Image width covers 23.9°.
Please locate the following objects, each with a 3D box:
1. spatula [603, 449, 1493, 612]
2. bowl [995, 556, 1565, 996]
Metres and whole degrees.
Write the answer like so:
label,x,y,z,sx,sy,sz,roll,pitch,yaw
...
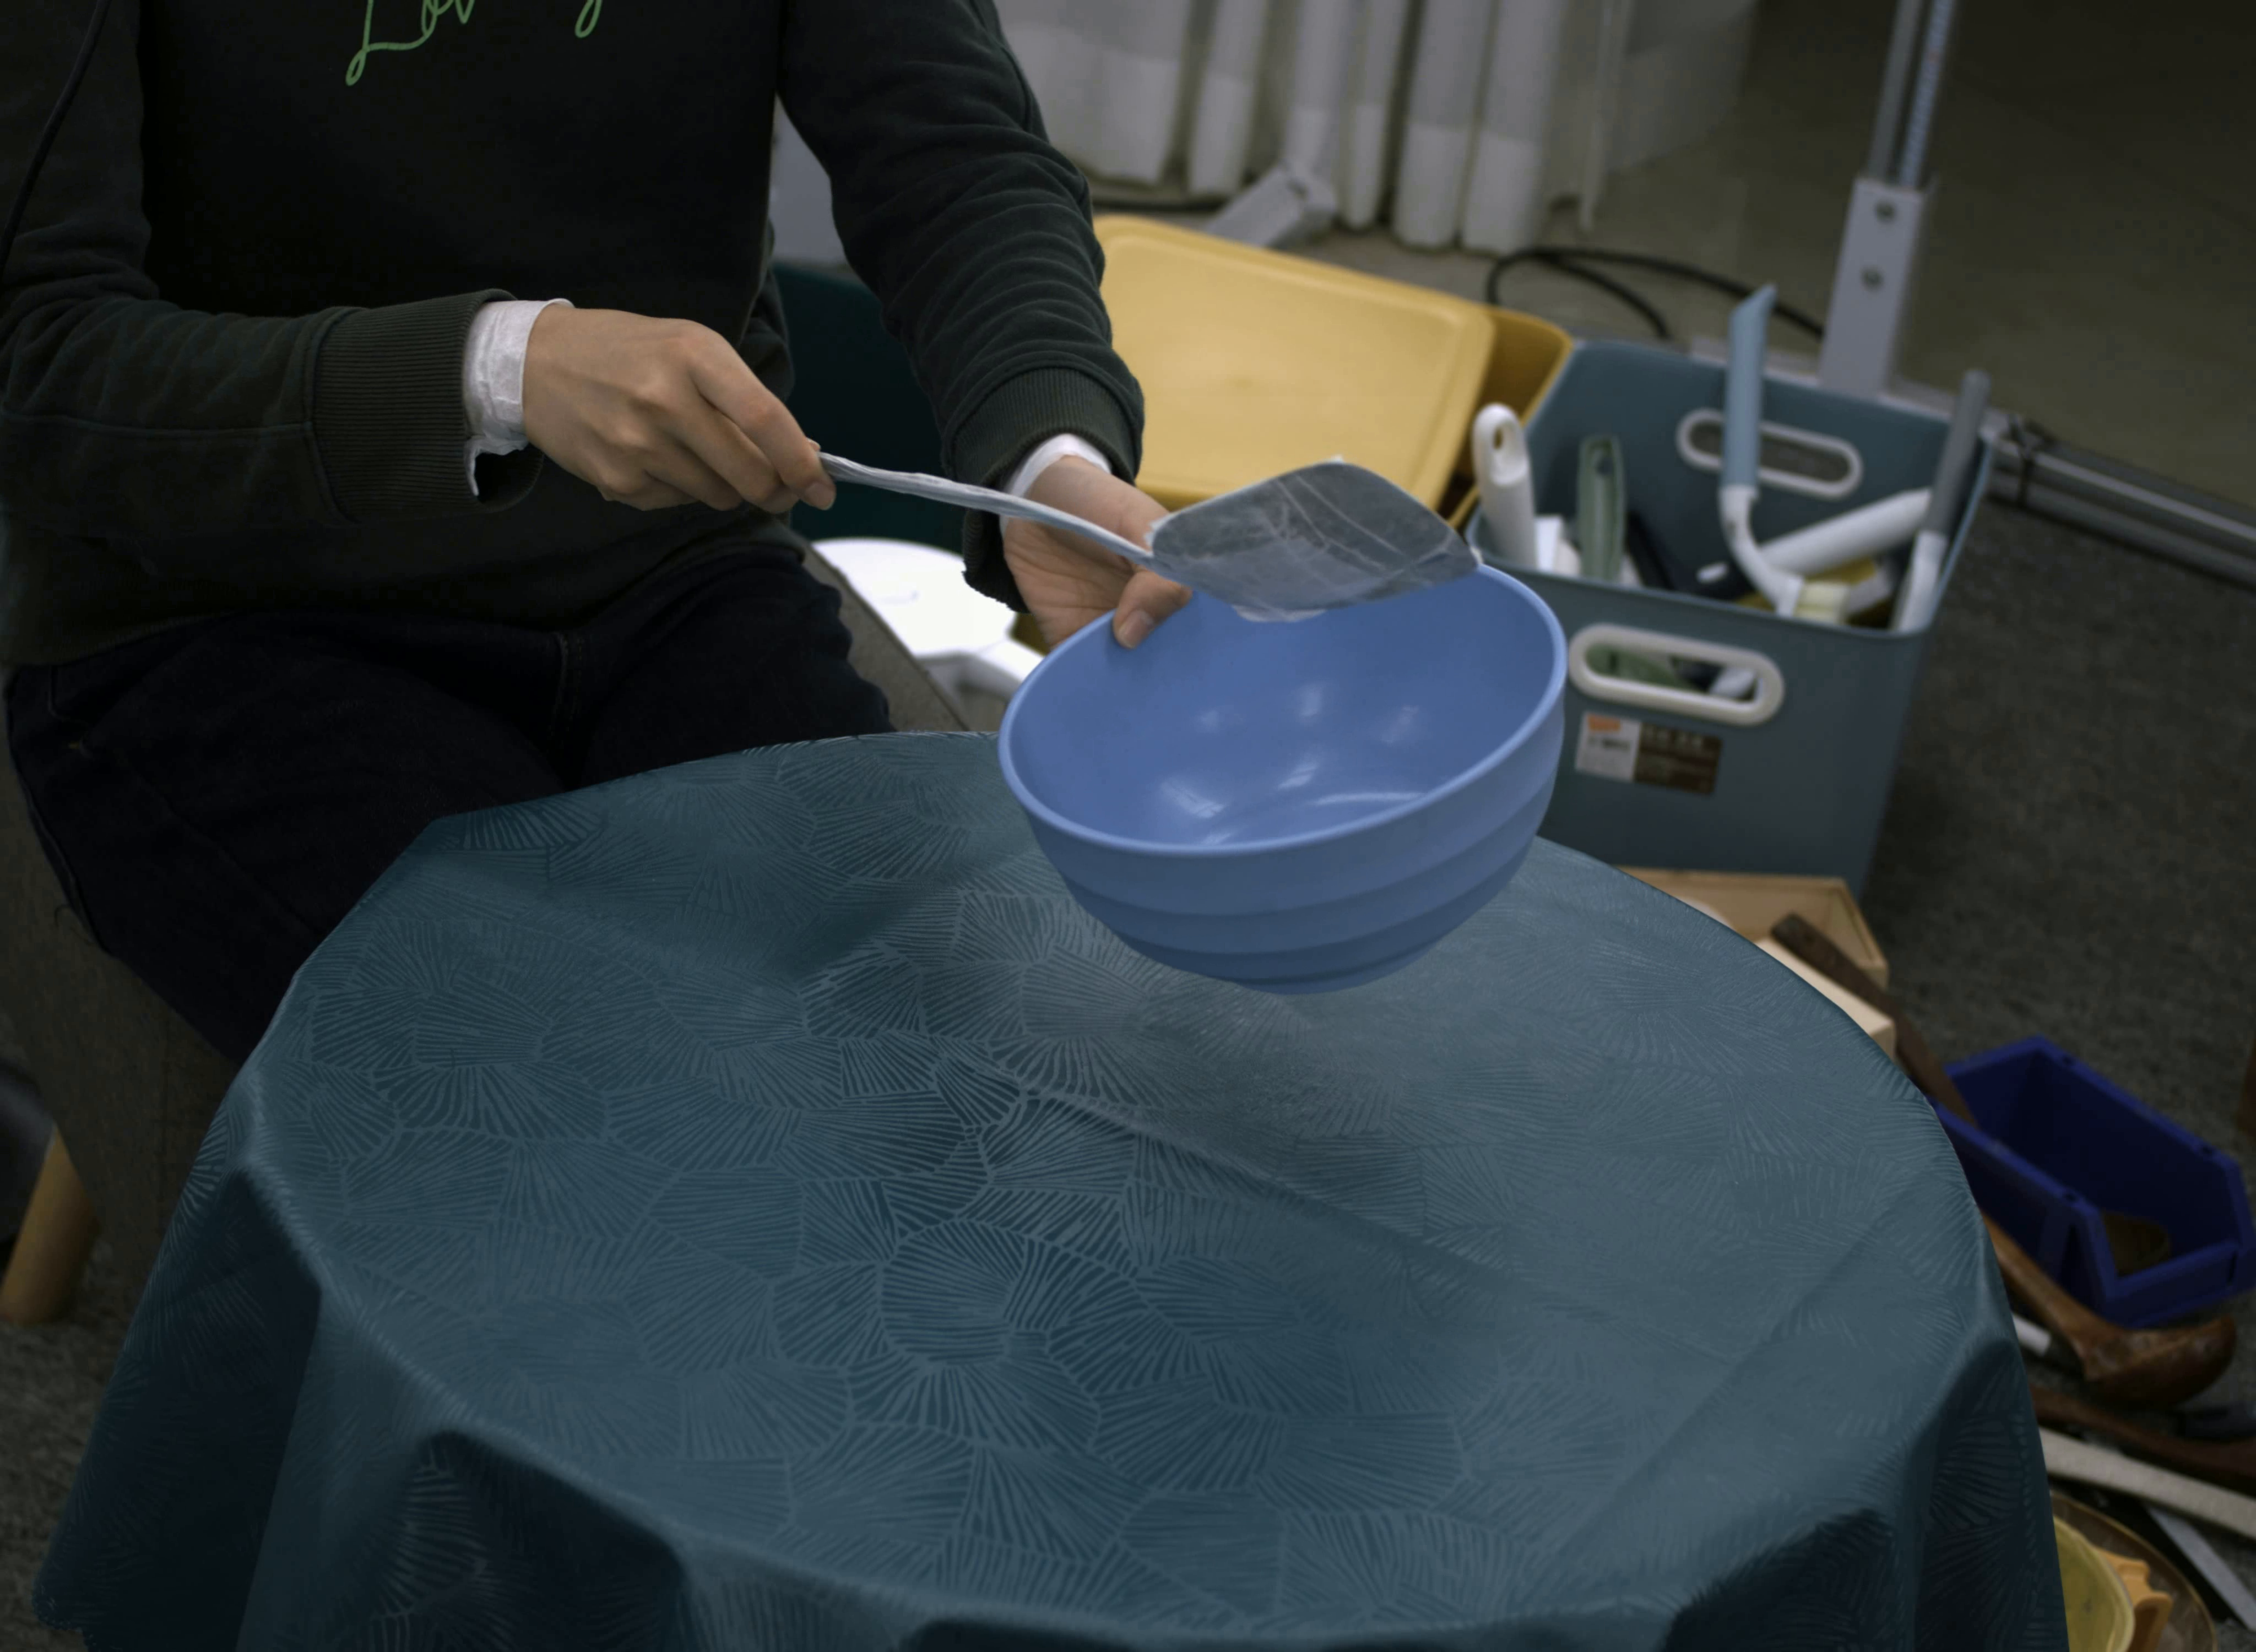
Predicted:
label,x,y,z,sx,sy,sz,roll,pitch,yaw
spatula,-0.045,-0.113,1.815,0.367,0.045,0.098,12,-13,37
bowl,0.060,-0.006,1.817,0.196,0.095,0.198,-11,31,6
